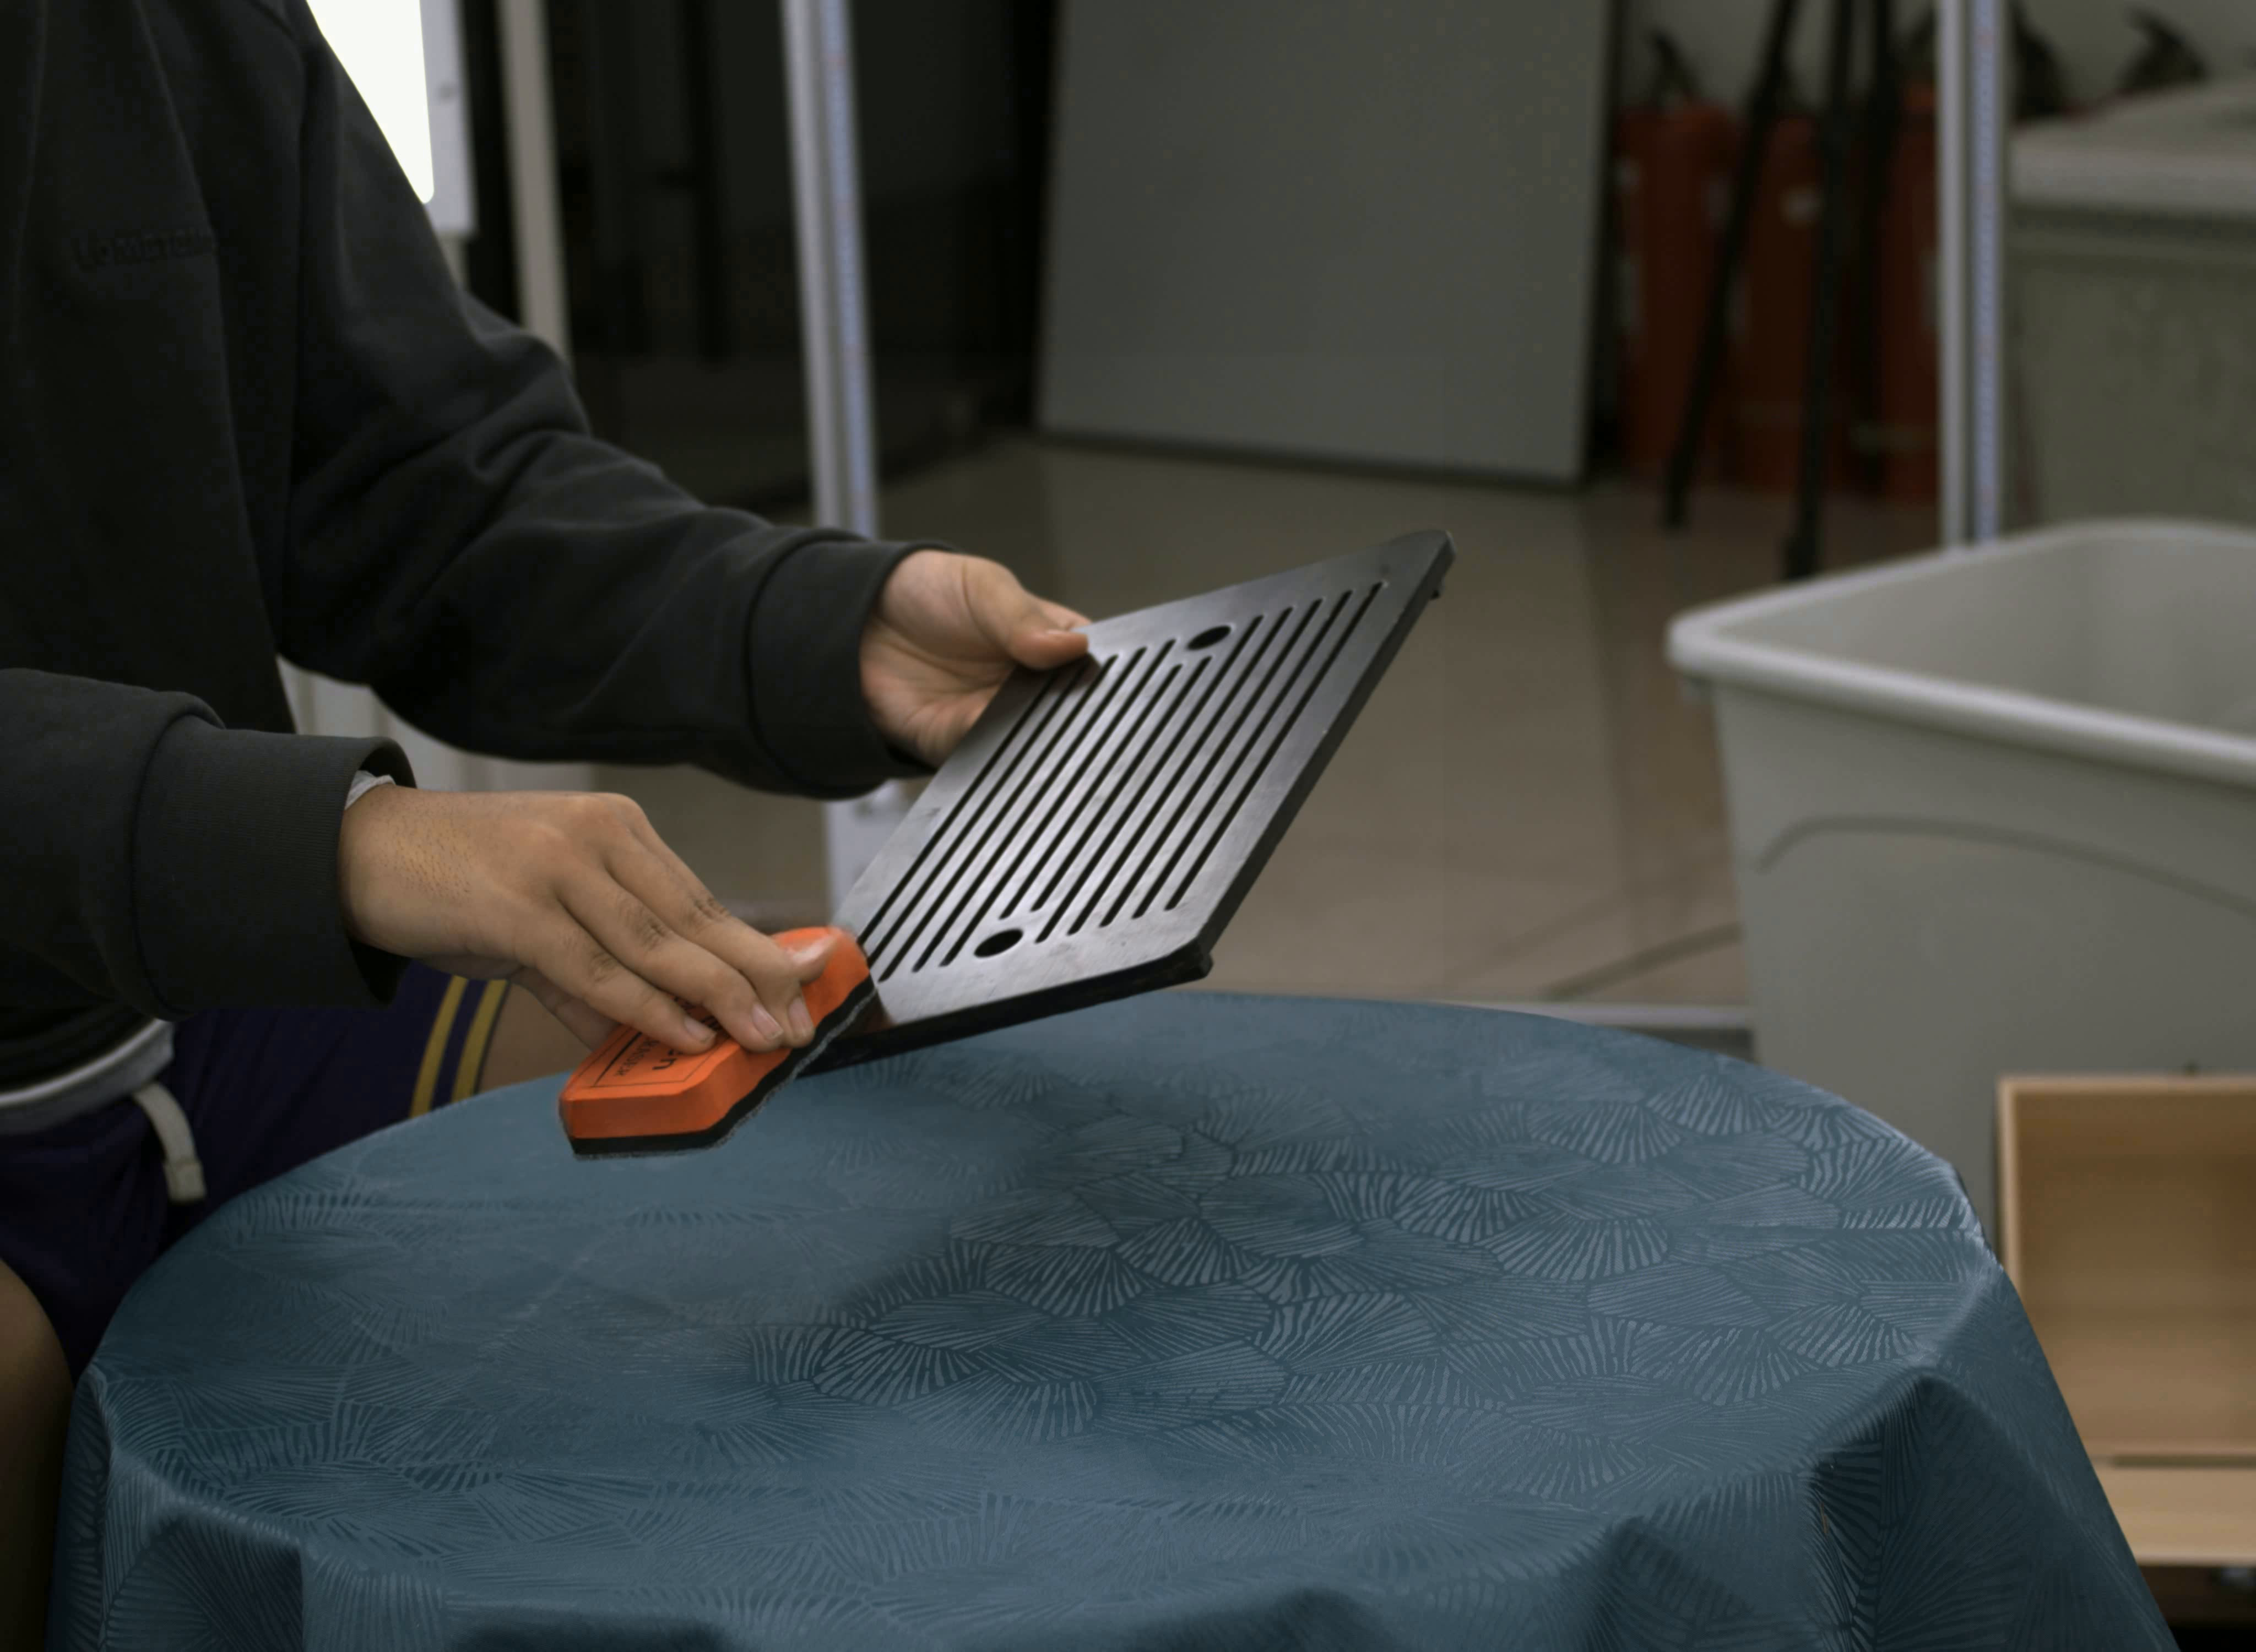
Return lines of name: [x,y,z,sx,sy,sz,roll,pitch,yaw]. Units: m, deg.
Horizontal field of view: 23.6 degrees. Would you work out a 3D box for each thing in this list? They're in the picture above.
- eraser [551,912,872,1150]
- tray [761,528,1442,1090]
eraser: [-0.124,0.061,1.629,0.059,0.023,0.107,-6,25,32]
tray: [-0.008,-0.007,1.742,0.170,0.018,0.304,-16,21,28]
